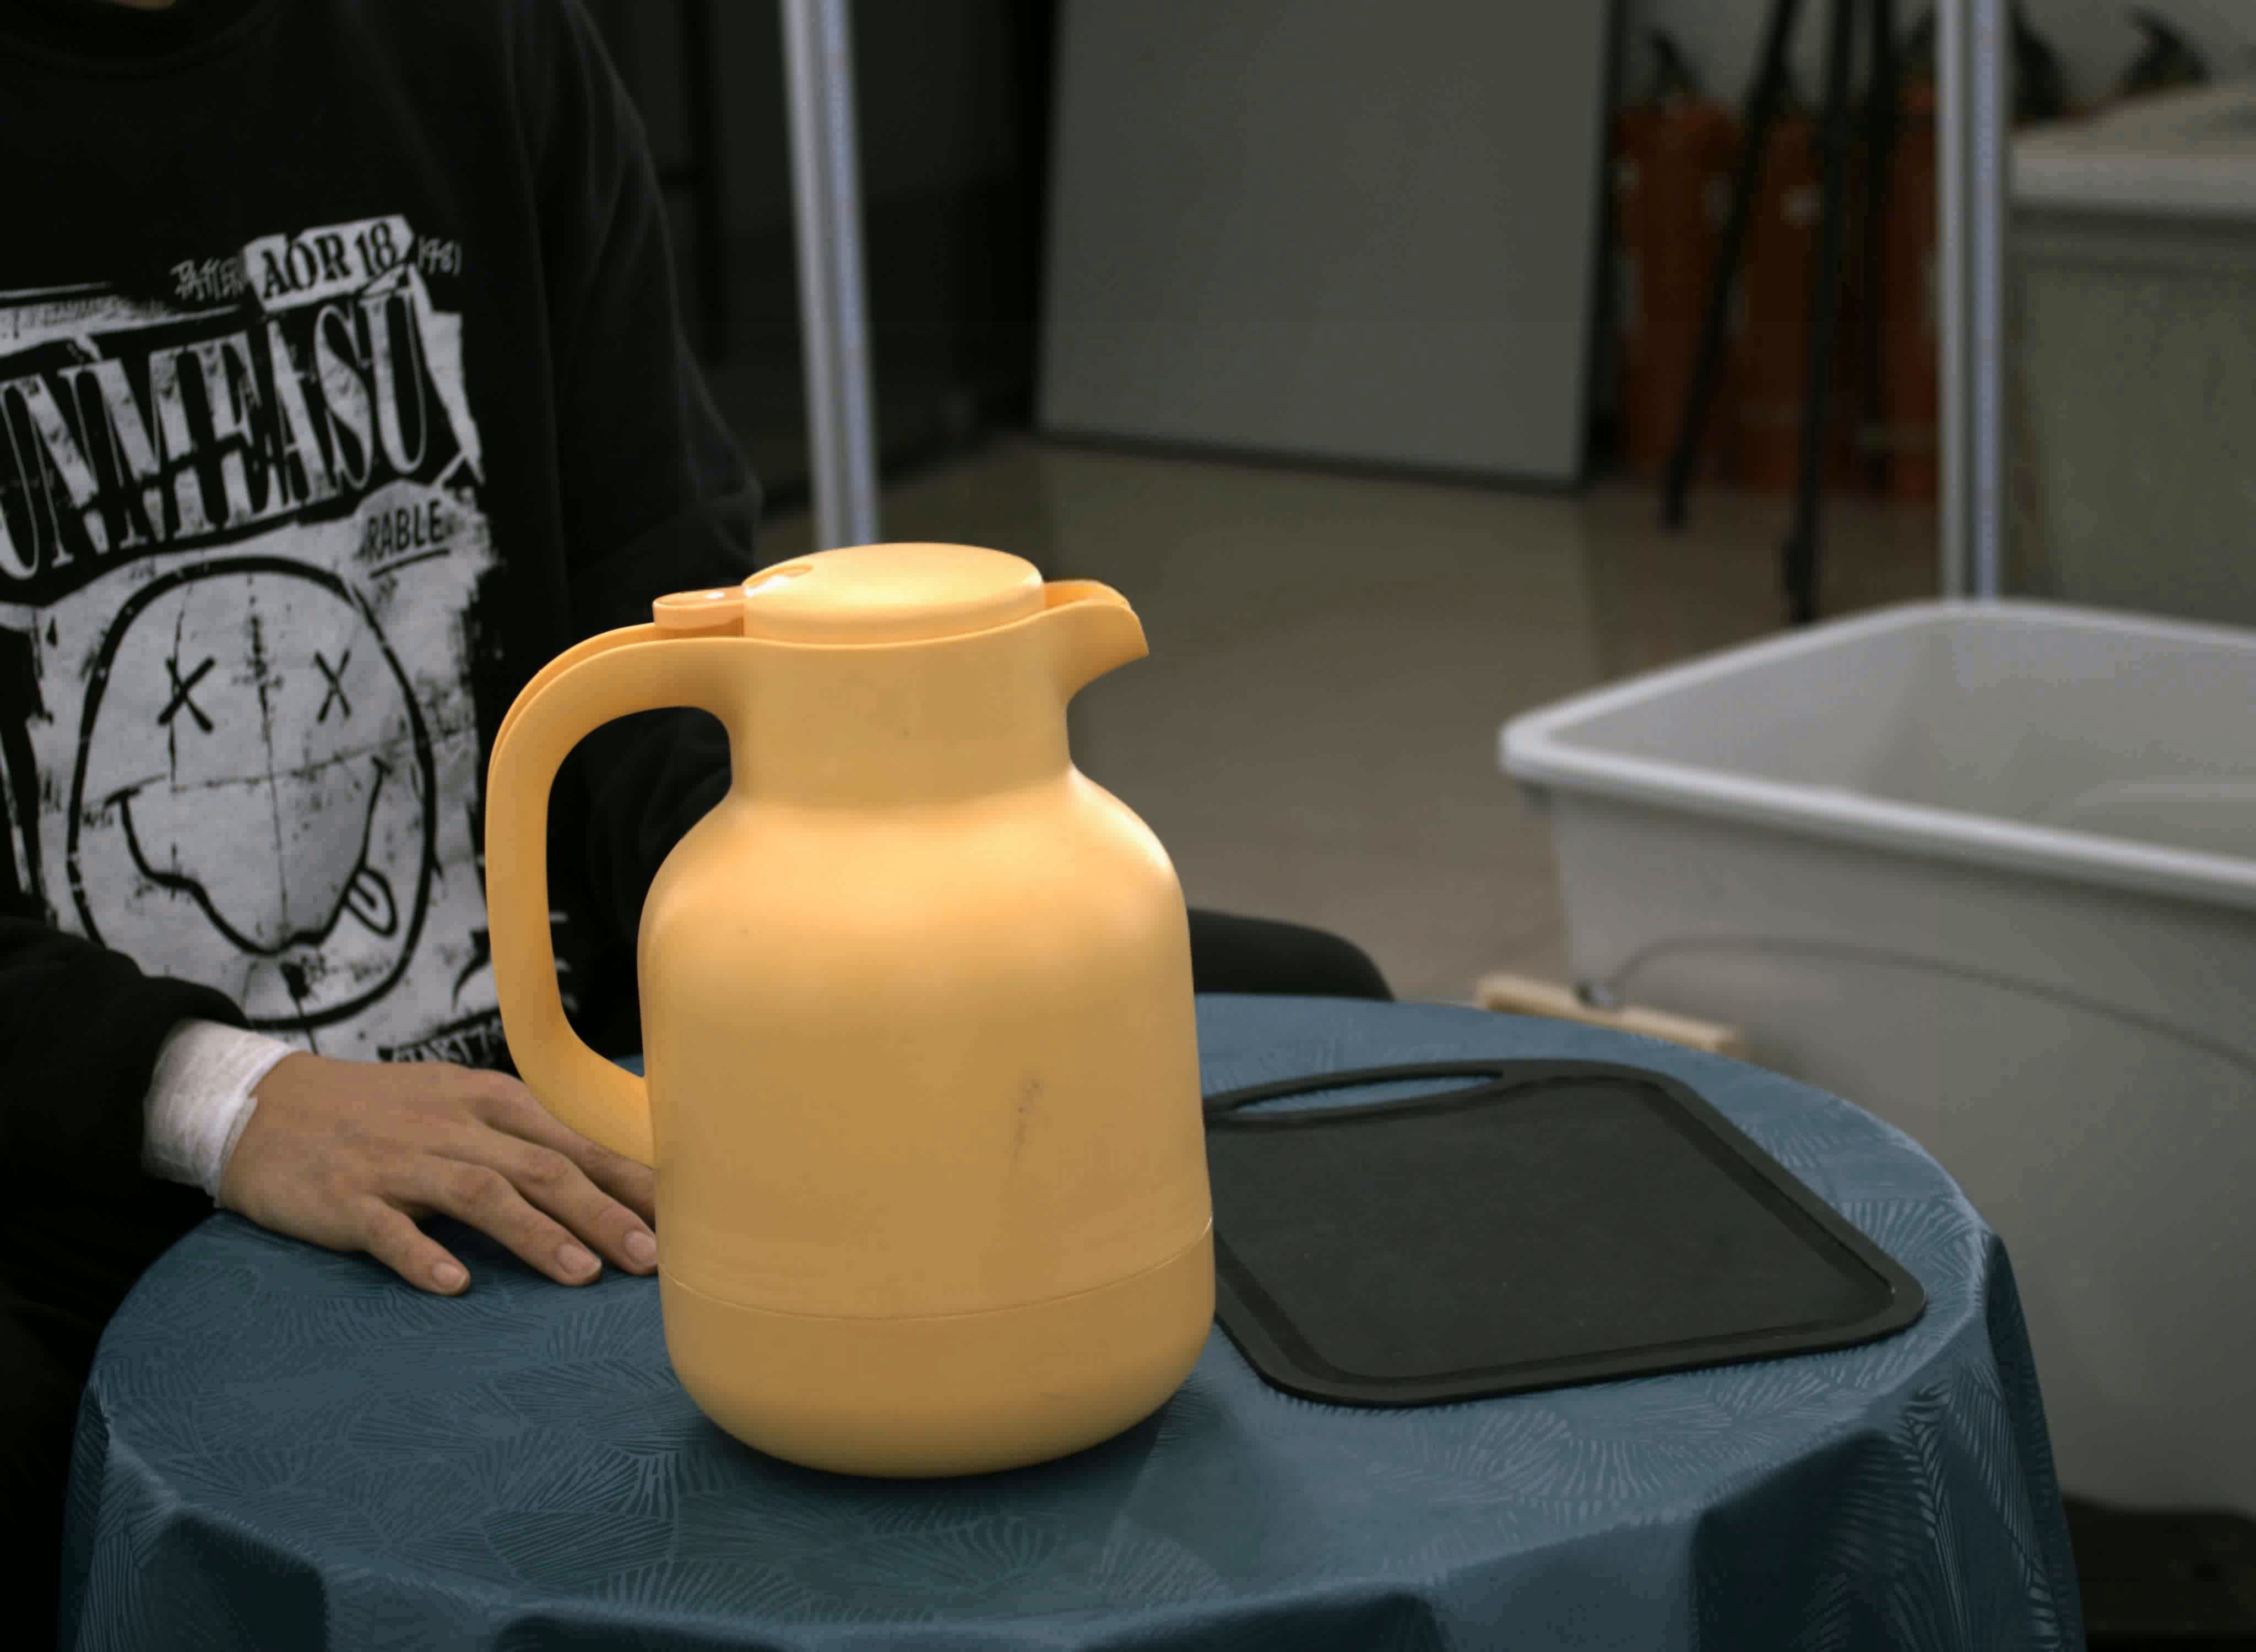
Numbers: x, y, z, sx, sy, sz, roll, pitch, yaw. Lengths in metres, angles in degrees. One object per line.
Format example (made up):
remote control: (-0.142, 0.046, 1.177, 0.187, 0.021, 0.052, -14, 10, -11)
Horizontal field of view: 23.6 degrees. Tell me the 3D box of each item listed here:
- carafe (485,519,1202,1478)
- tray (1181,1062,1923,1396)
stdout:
carafe: (-0.081, 0.046, 1.551, 0.199, 0.263, 0.164, -3, 11, -3)
tray: (0.112, 0.122, 1.722, 0.207, 0.010, 0.327, -7, 14, -11)
